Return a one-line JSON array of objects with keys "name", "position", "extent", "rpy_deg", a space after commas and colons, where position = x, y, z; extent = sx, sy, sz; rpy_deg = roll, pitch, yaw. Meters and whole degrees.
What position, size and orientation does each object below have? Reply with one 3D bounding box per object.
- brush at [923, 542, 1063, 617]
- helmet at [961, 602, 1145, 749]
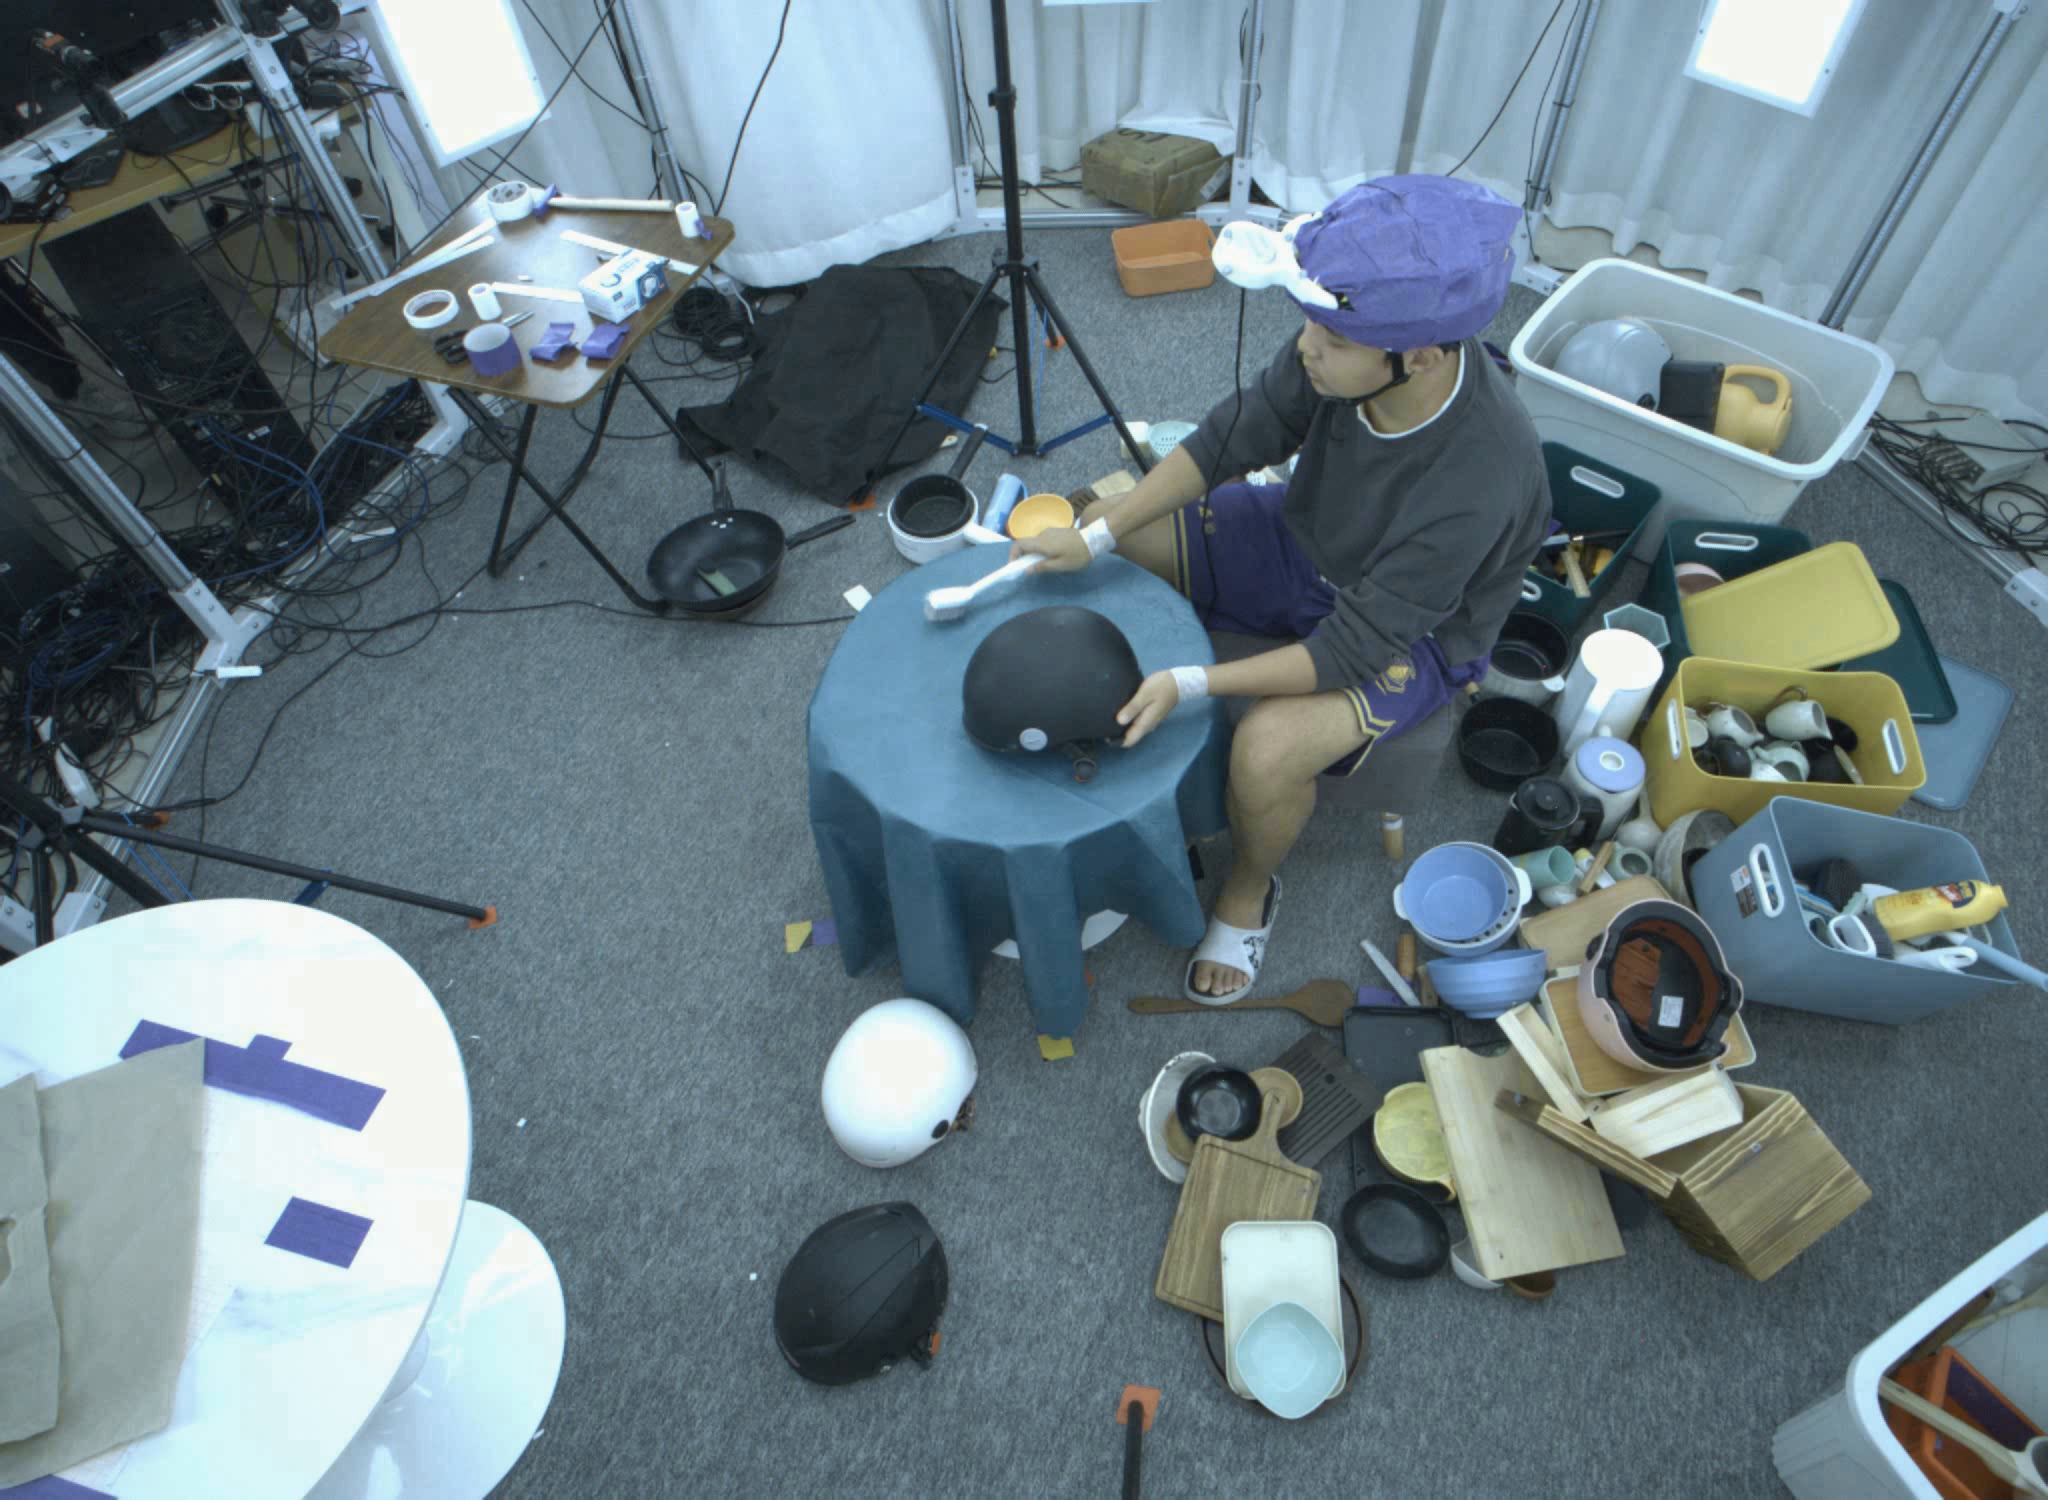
[{"name": "brush", "position": [-0.047, -0.268, 1.944], "extent": [0.246, 0.051, 0.034], "rpy_deg": [-24, 53, -17]}, {"name": "helmet", "position": [0.035, -0.120, 1.765], "extent": [0.273, 0.169, 0.227], "rpy_deg": [-7, 40, 0]}]
